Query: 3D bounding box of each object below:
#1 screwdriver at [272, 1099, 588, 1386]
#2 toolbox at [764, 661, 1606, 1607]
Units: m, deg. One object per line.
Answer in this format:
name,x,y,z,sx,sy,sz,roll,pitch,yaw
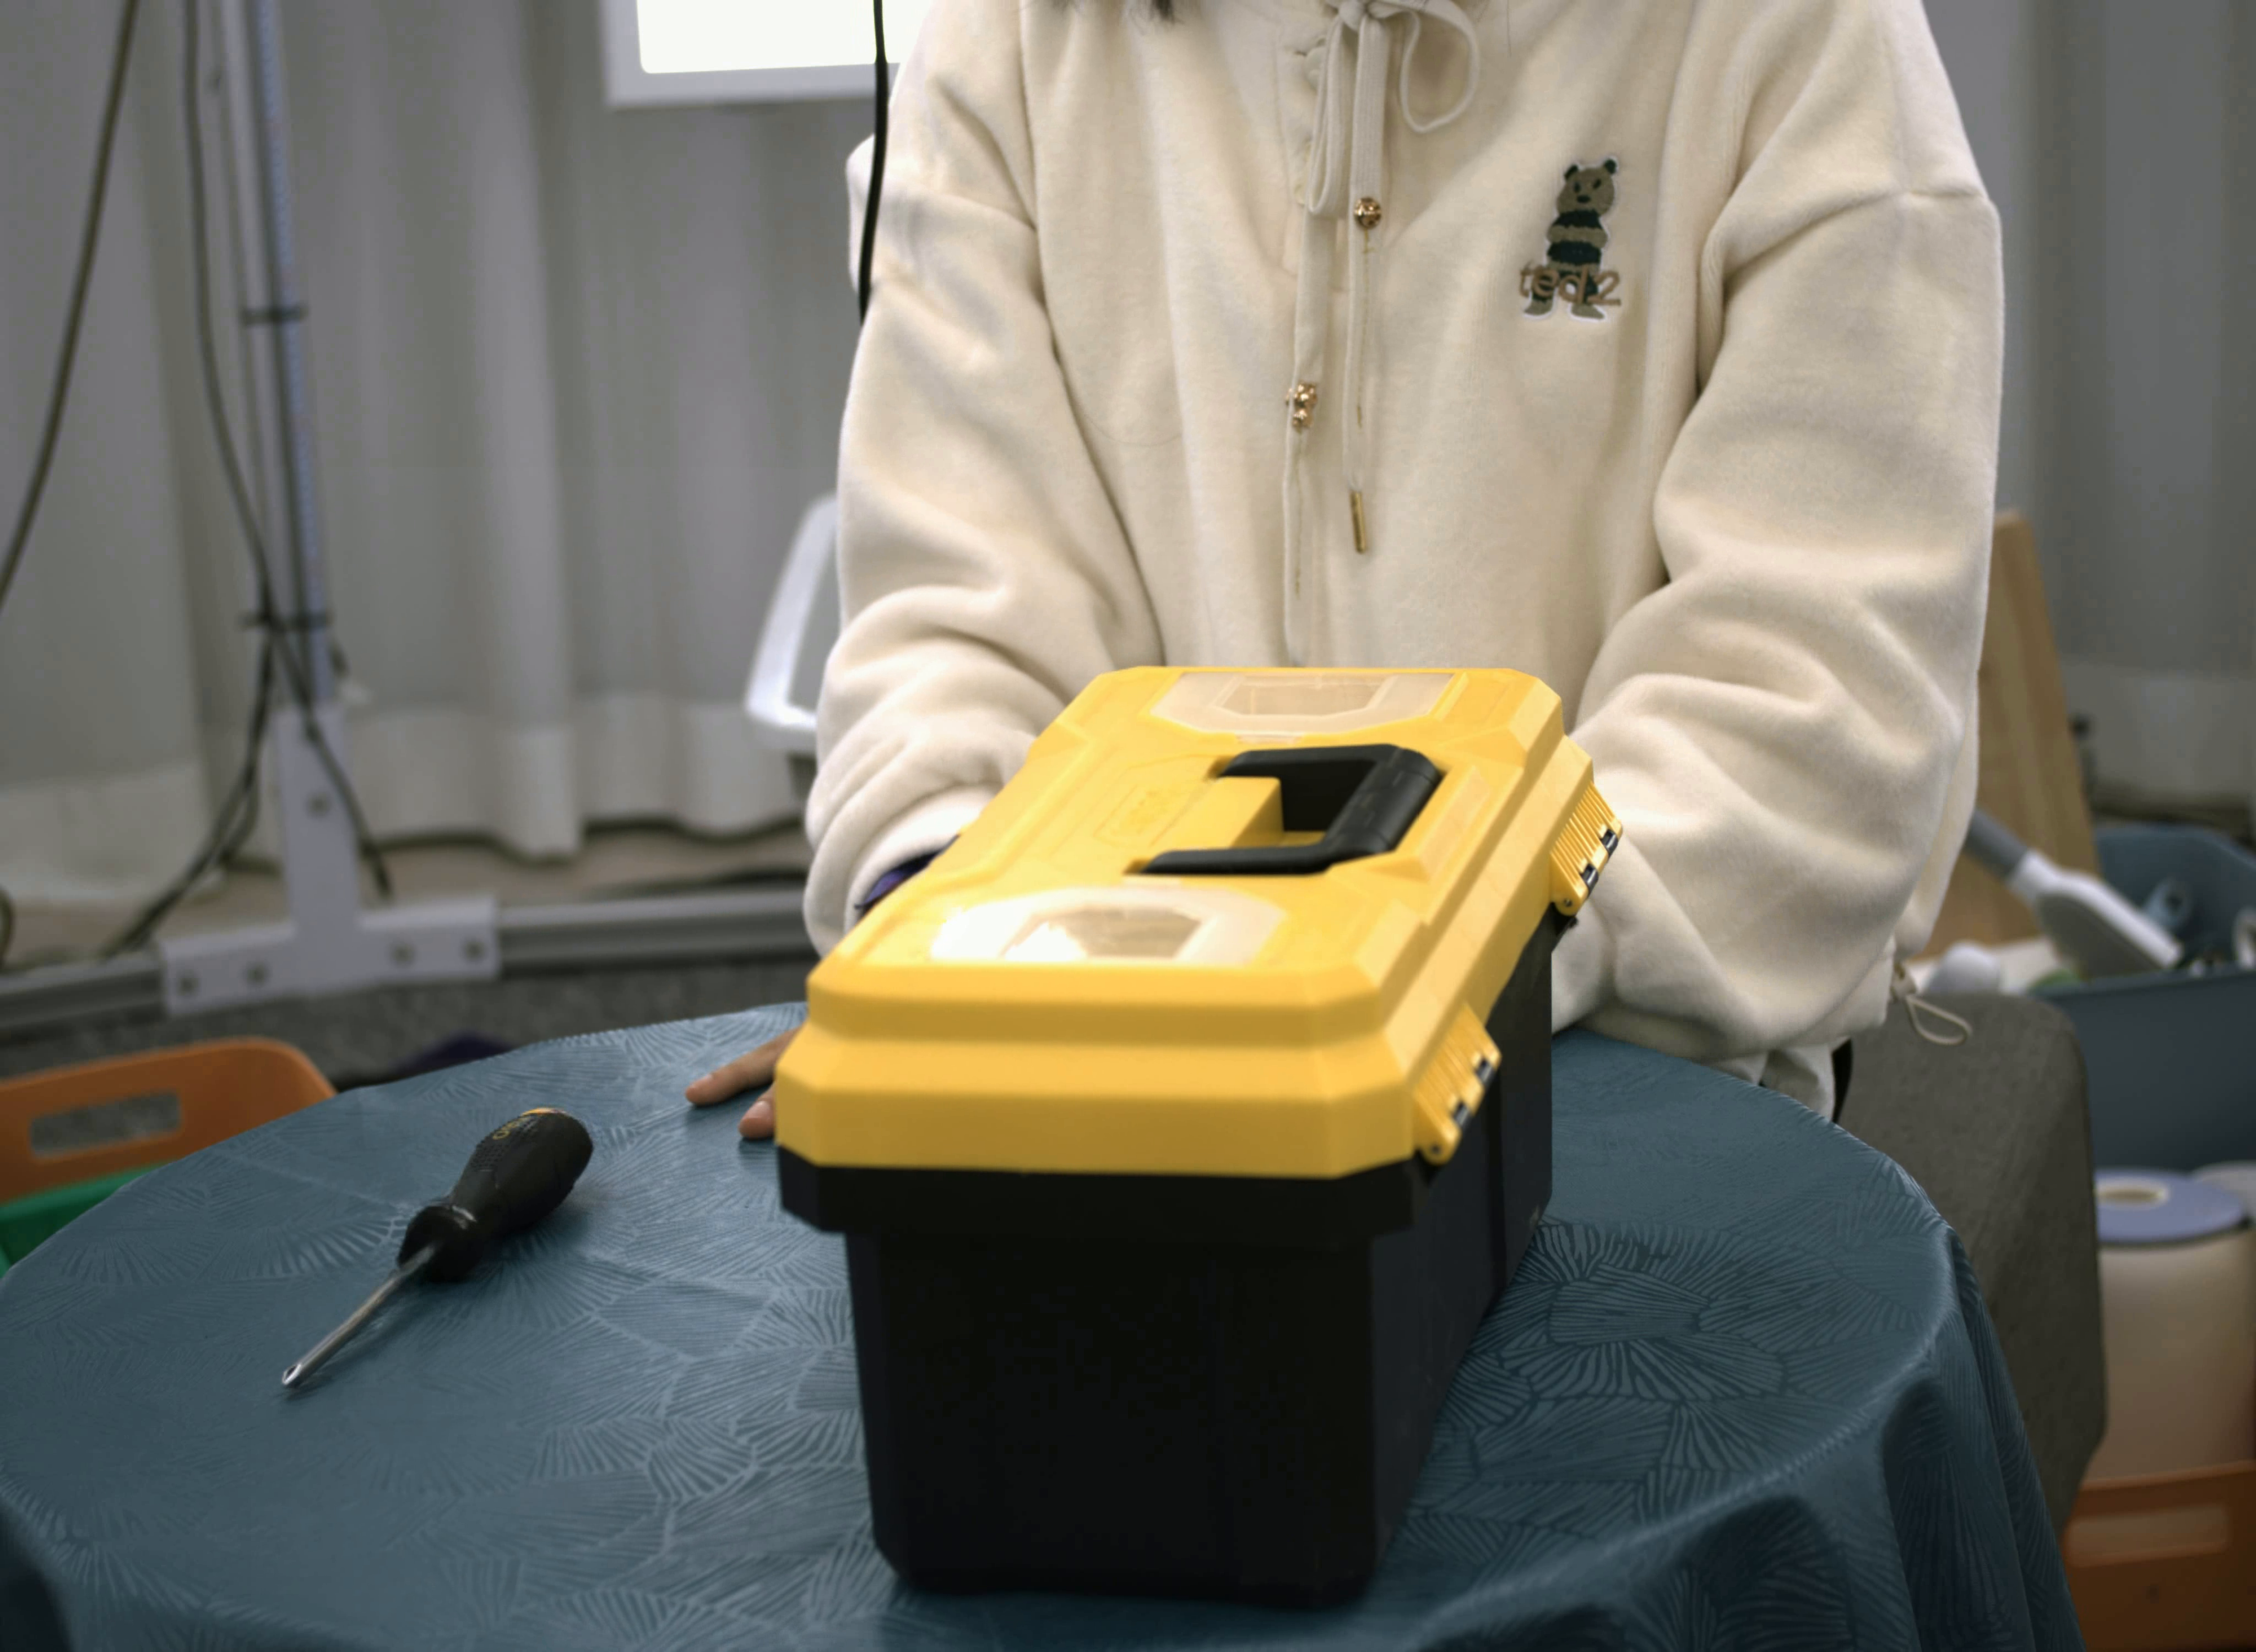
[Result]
screwdriver,-0.213,0.125,1.656,0.031,0.031,0.197,3,17,21
toolbox,0.028,0.075,1.521,0.181,0.172,0.353,1,15,14
